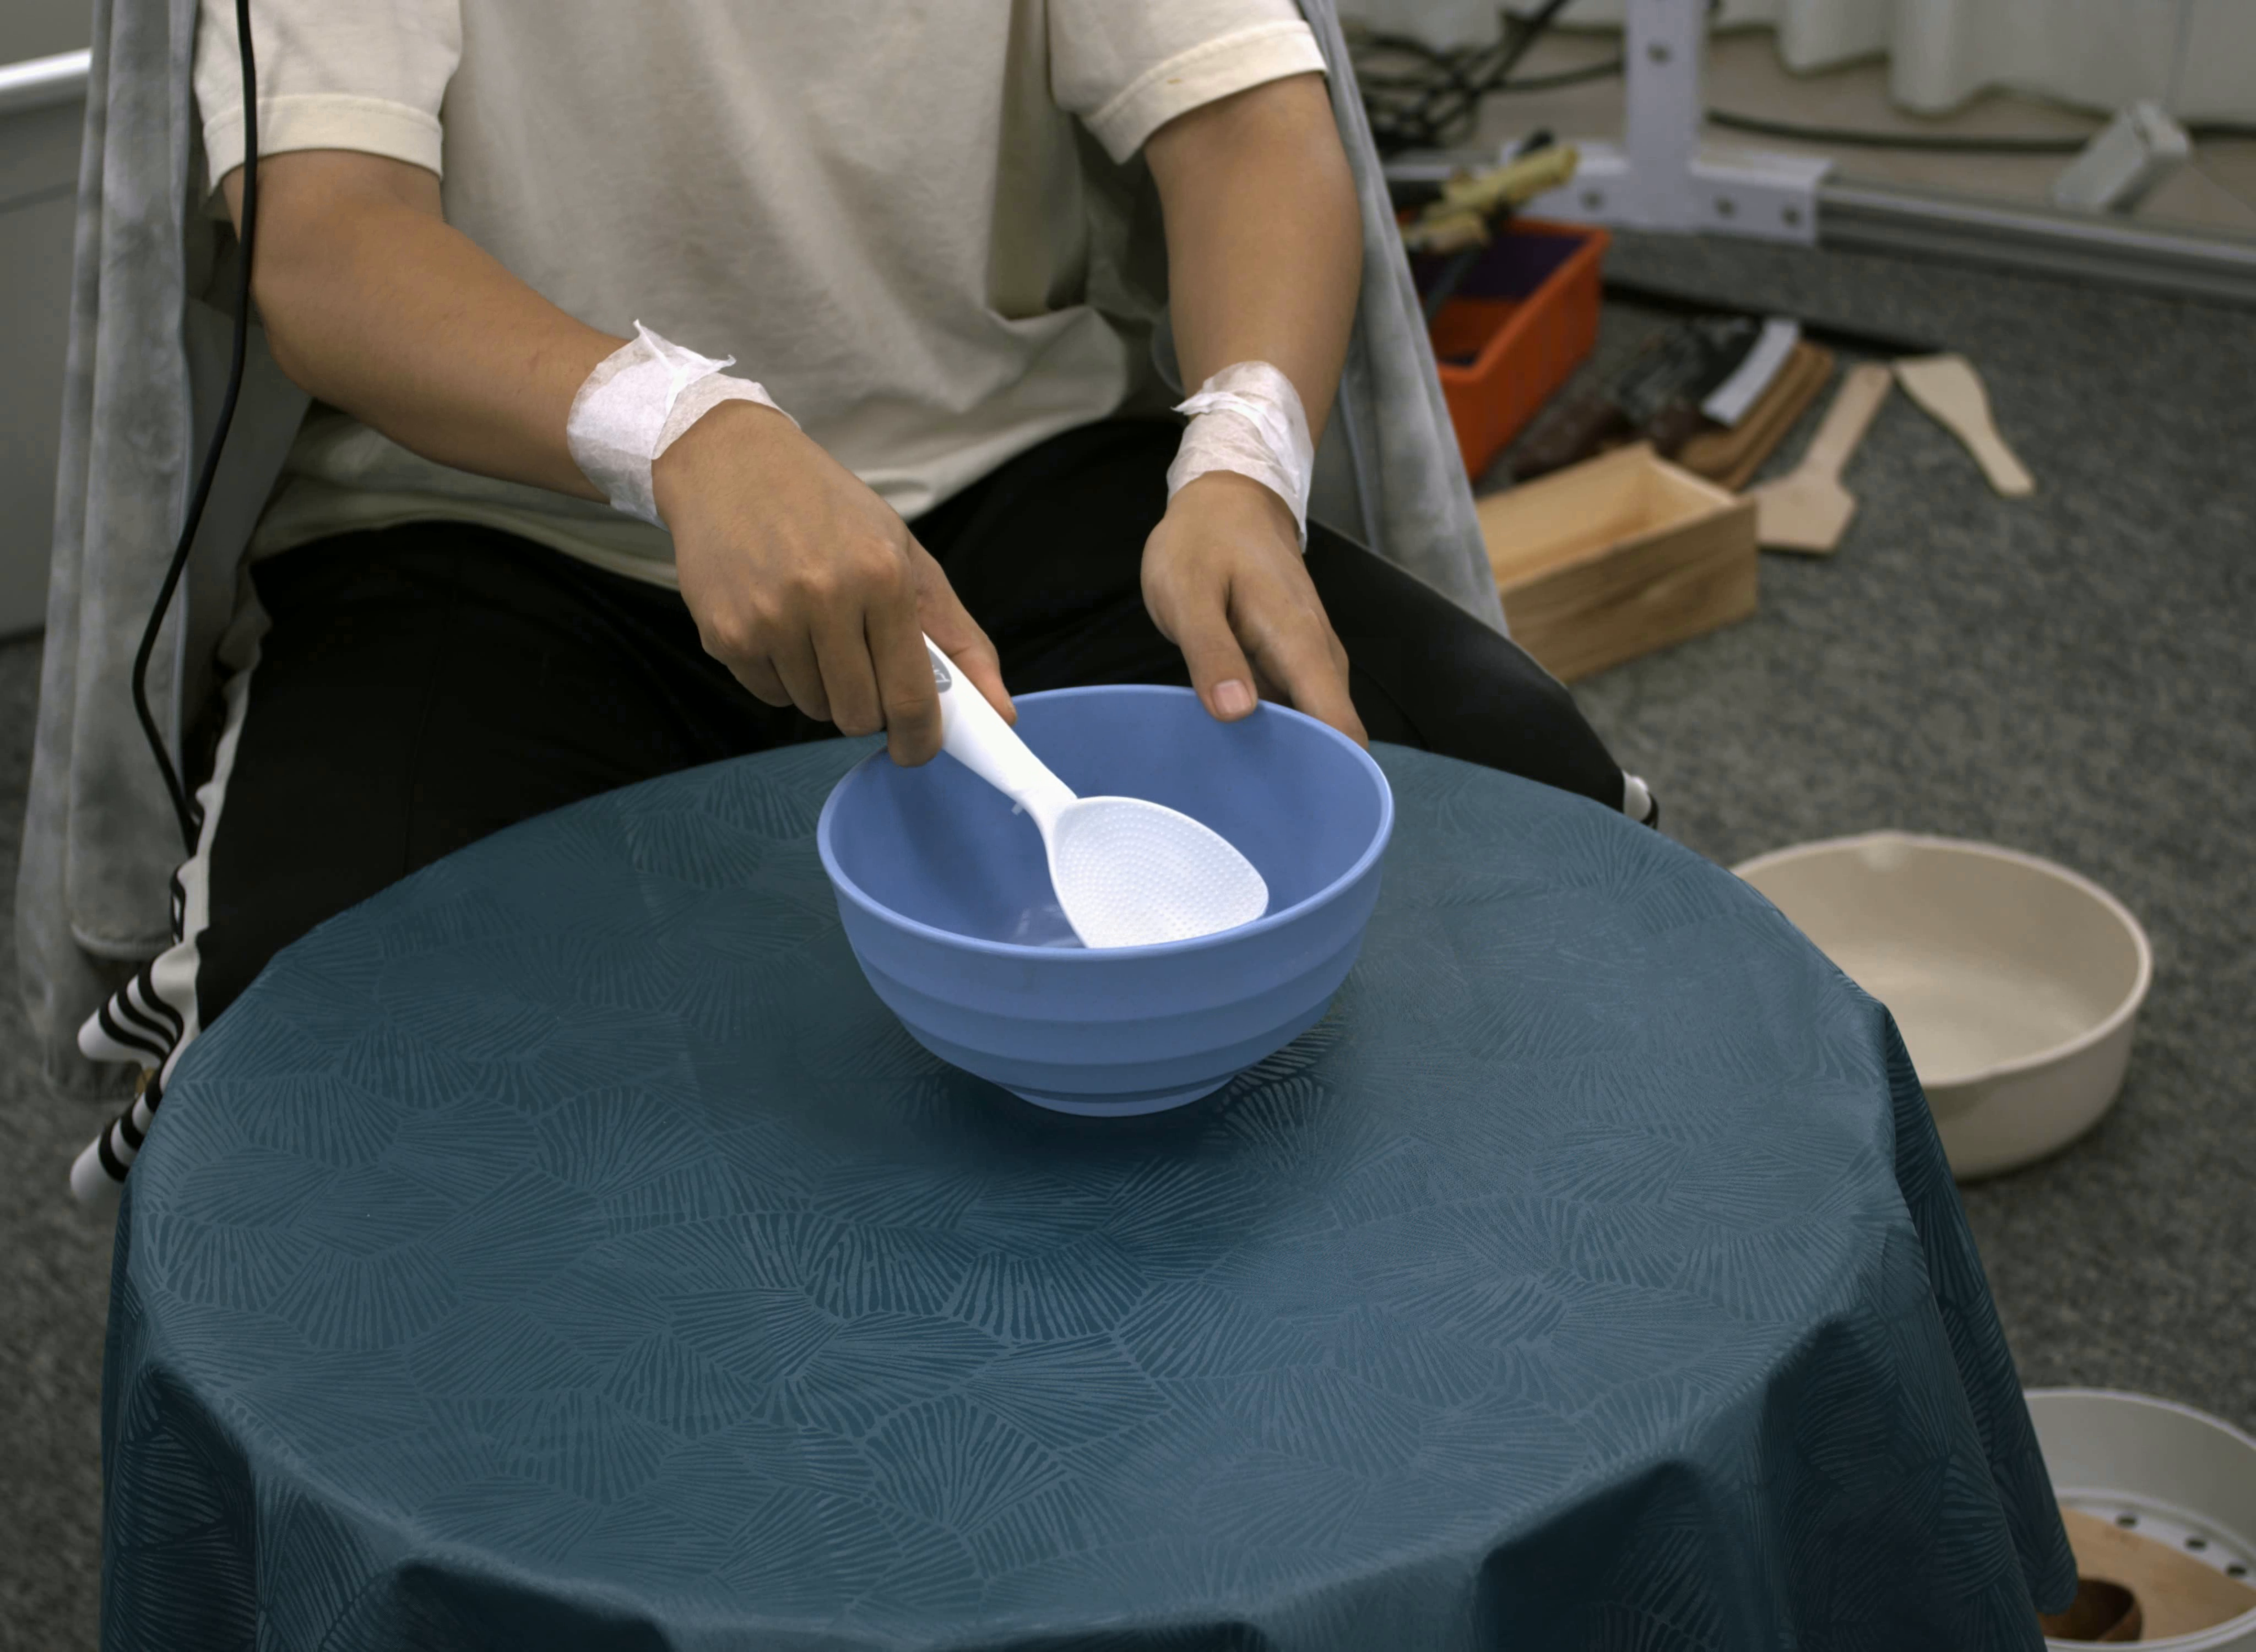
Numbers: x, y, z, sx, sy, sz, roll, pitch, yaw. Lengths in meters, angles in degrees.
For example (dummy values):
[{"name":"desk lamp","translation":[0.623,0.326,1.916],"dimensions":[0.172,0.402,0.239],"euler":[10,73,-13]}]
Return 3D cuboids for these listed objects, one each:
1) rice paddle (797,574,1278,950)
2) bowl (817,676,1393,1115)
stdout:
[{"name":"rice paddle","translation":[-0.027,-0.010,1.944],"dimensions":[0.205,0.029,0.070],"euler":[41,63,1]},{"name":"bowl","translation":[-0.005,0.035,1.923],"dimensions":[0.195,0.094,0.199],"euler":[-3,29,2]}]
